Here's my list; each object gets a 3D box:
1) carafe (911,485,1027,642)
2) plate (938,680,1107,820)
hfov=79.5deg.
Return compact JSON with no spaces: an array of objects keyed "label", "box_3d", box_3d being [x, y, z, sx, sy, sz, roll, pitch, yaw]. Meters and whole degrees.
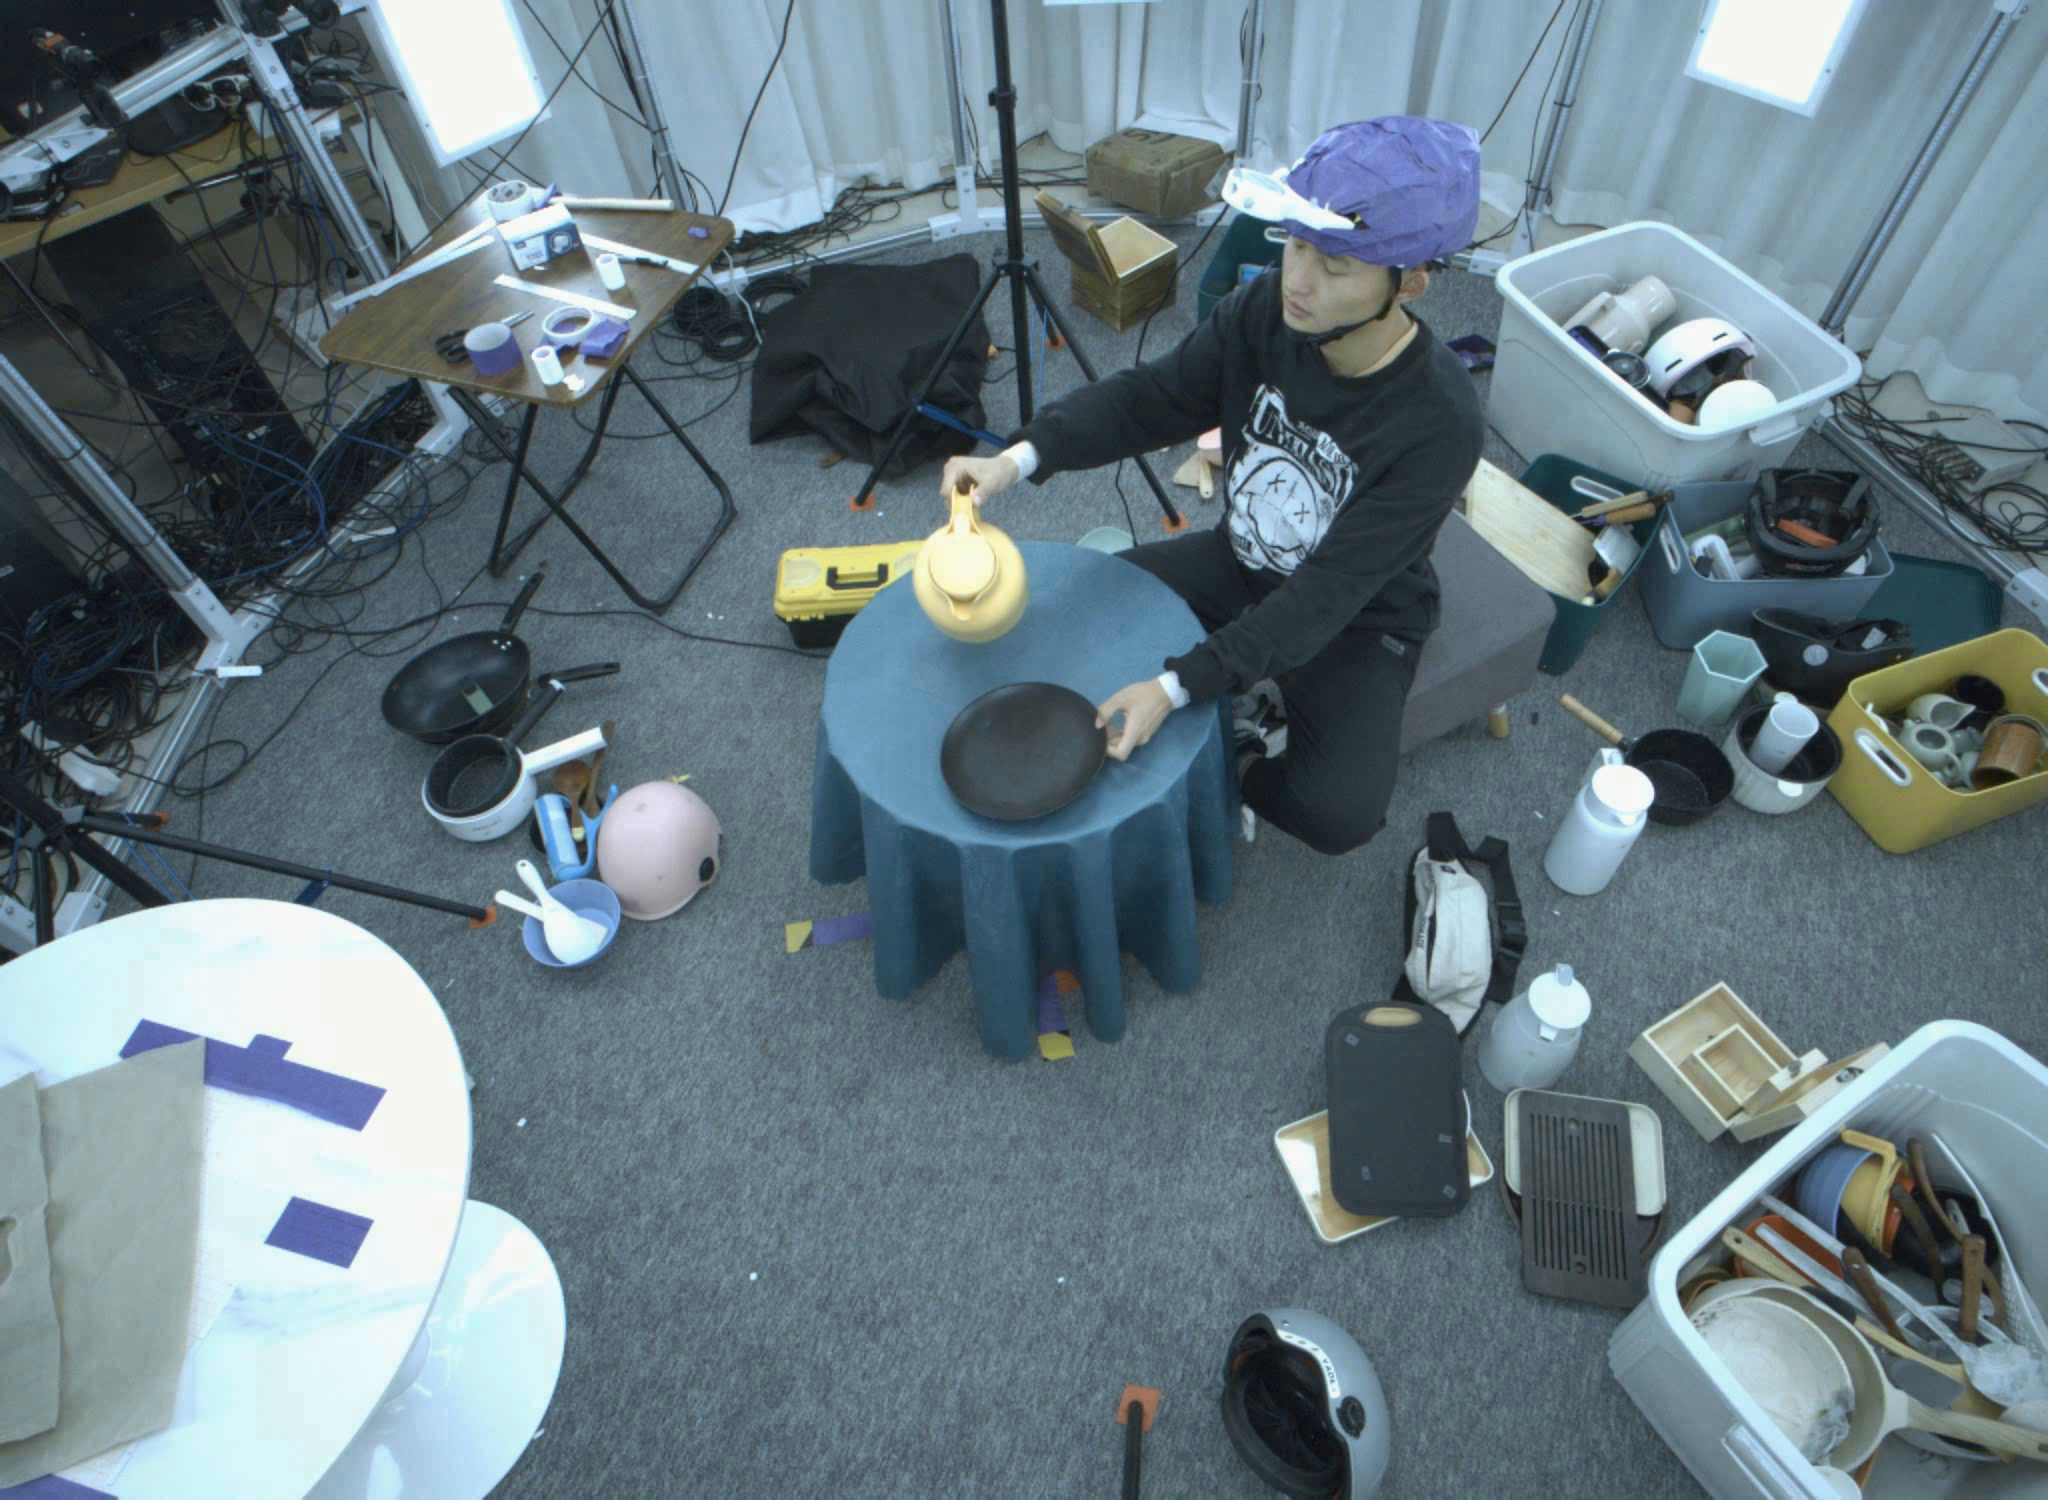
[{"label":"carafe","box_3d":[-0.078,-0.264,1.743,0.164,0.260,0.202,2,89,0]},{"label":"plate","box_3d":[-0.001,0.001,1.756,0.243,0.024,0.242,-4,54,7]}]
